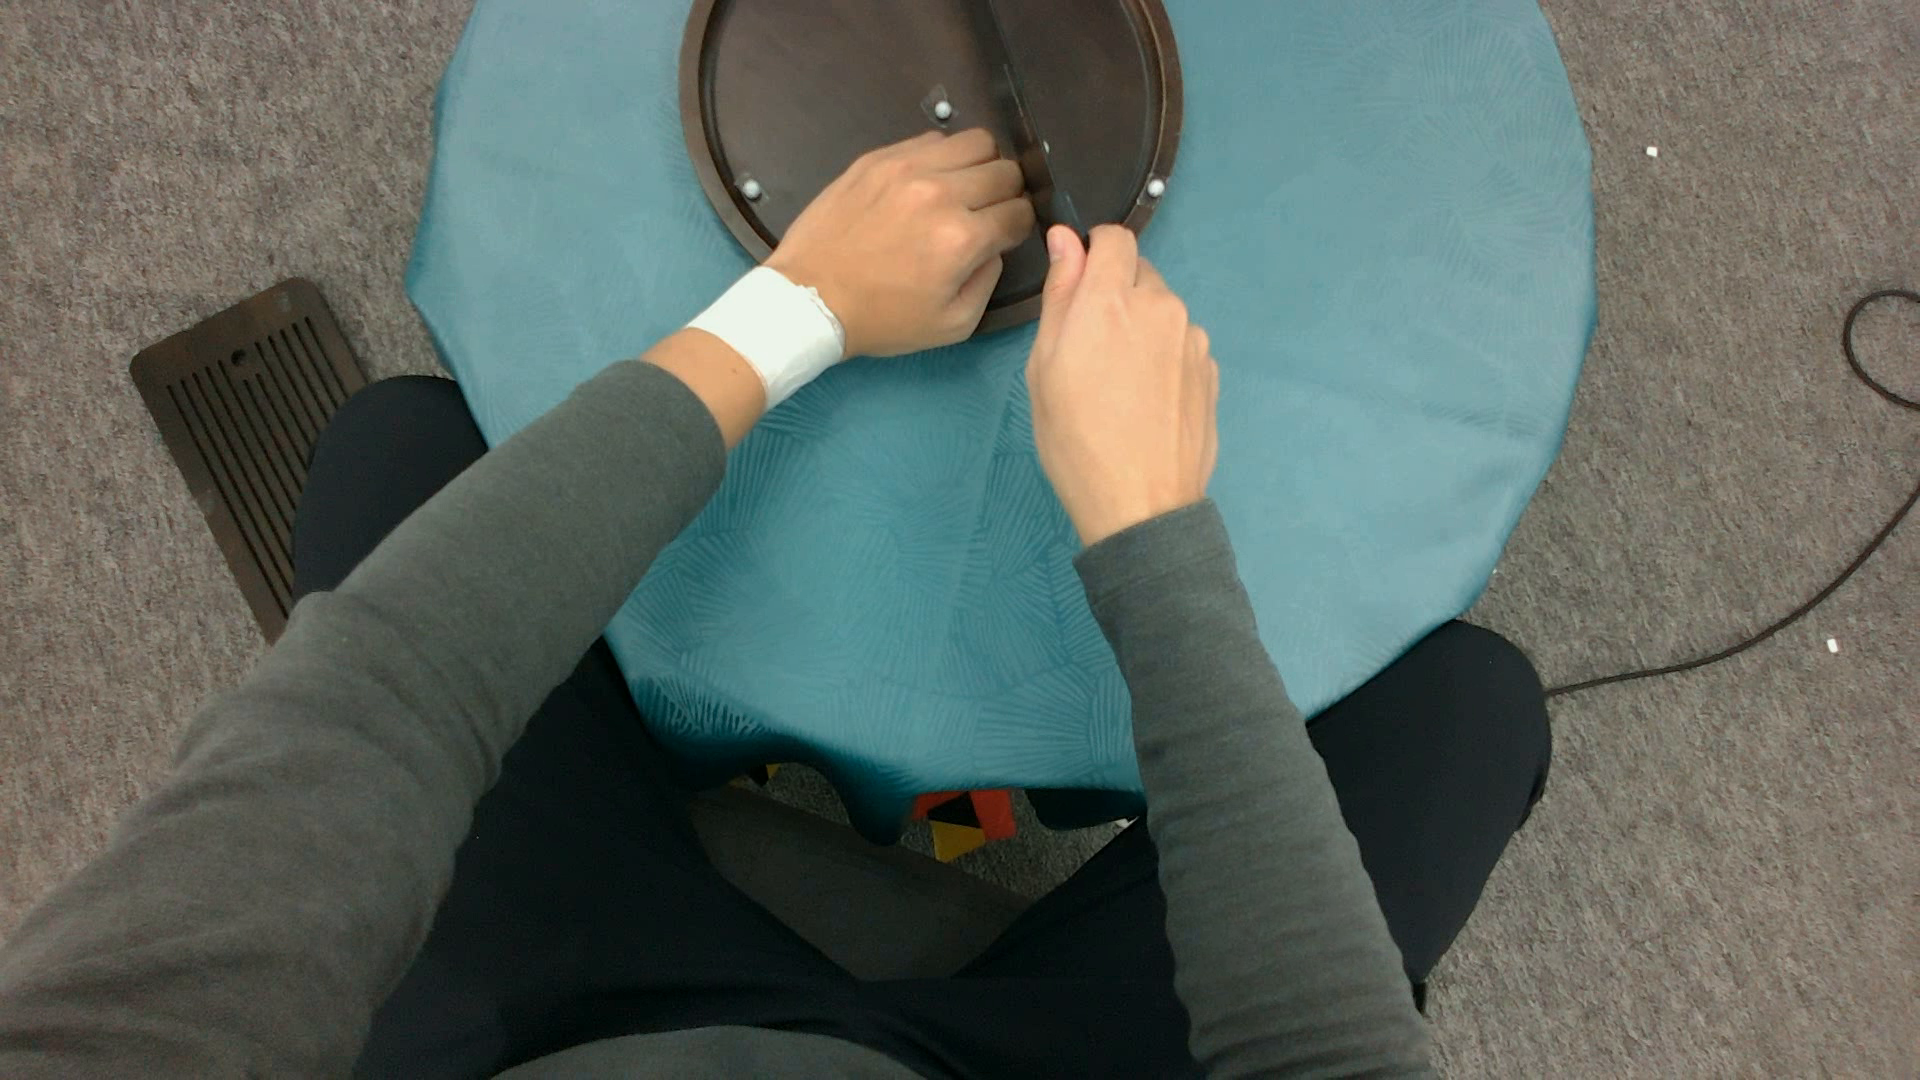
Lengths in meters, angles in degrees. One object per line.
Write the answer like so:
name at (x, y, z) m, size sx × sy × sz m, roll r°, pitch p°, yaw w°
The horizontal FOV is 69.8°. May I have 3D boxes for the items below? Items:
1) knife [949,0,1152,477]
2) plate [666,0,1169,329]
knife at (0.027, -0.172, 0.626) m, size 0.021 × 0.081 × 0.302 m, roll -19°, pitch 83°, yaw -4°
plate at (-0.020, -0.229, 0.699) m, size 0.255 × 0.029 × 0.255 m, roll 1°, pitch 83°, yaw -6°
